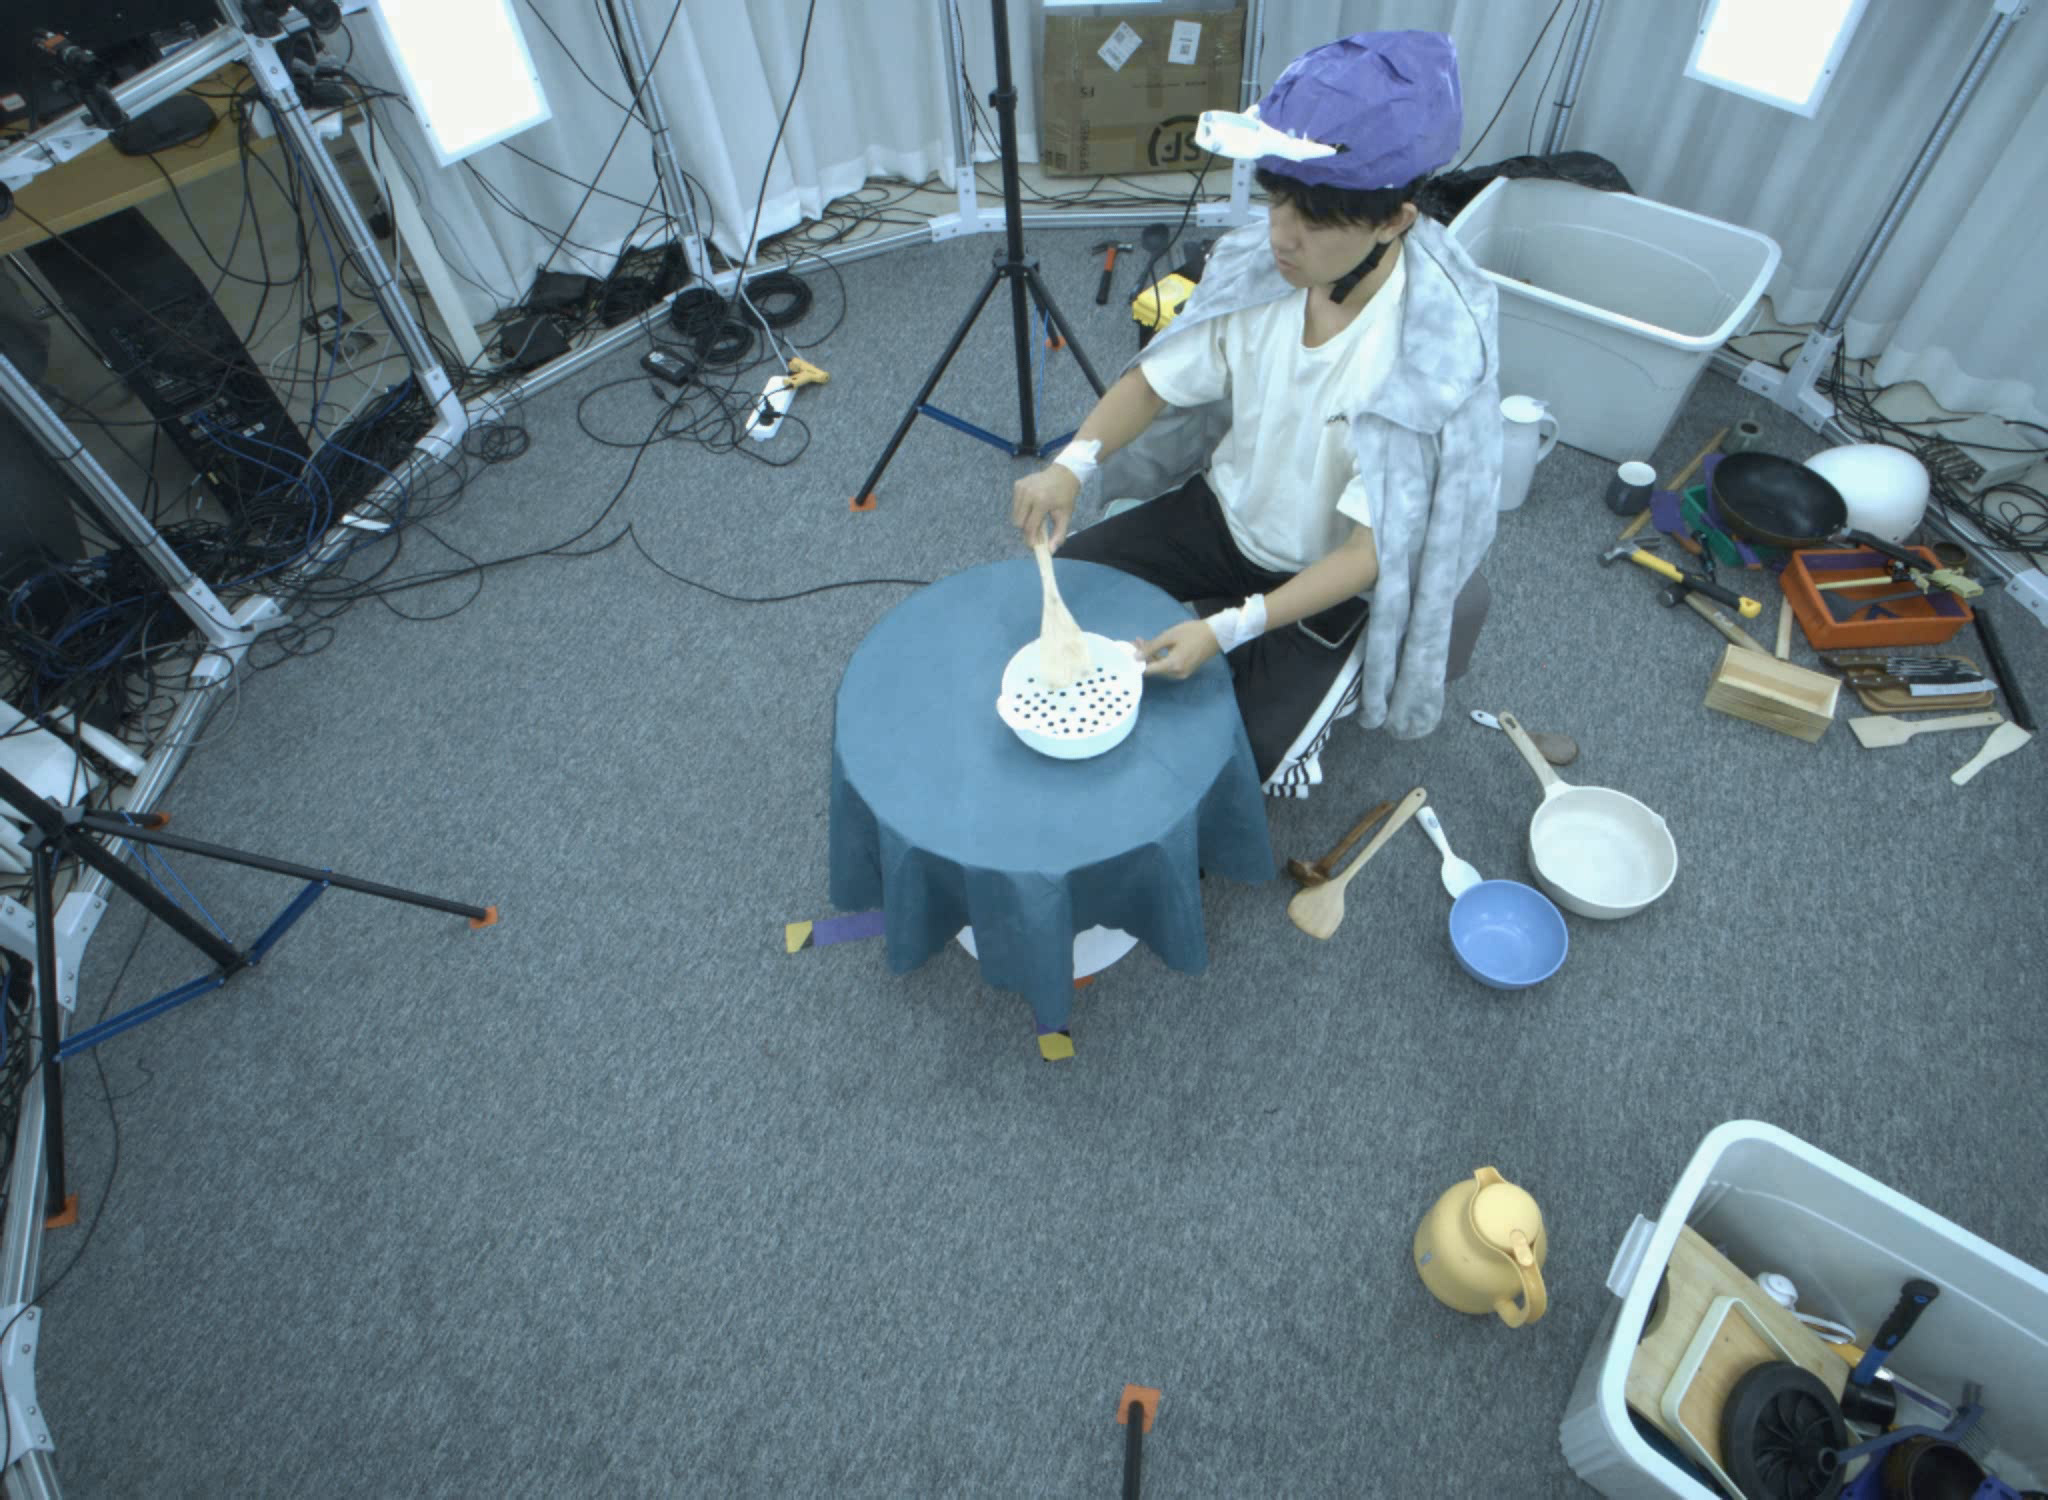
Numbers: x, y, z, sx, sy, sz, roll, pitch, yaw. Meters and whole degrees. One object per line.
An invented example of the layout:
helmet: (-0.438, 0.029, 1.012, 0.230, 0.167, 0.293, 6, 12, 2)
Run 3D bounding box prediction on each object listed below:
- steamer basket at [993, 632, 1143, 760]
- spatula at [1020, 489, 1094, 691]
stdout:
steamer basket: (0.065, -0.077, 1.801, 0.232, 0.070, 0.198, -26, 59, -16)
spatula: (0.034, -0.241, 1.797, 0.080, 0.016, 0.325, -12, 75, 1)
